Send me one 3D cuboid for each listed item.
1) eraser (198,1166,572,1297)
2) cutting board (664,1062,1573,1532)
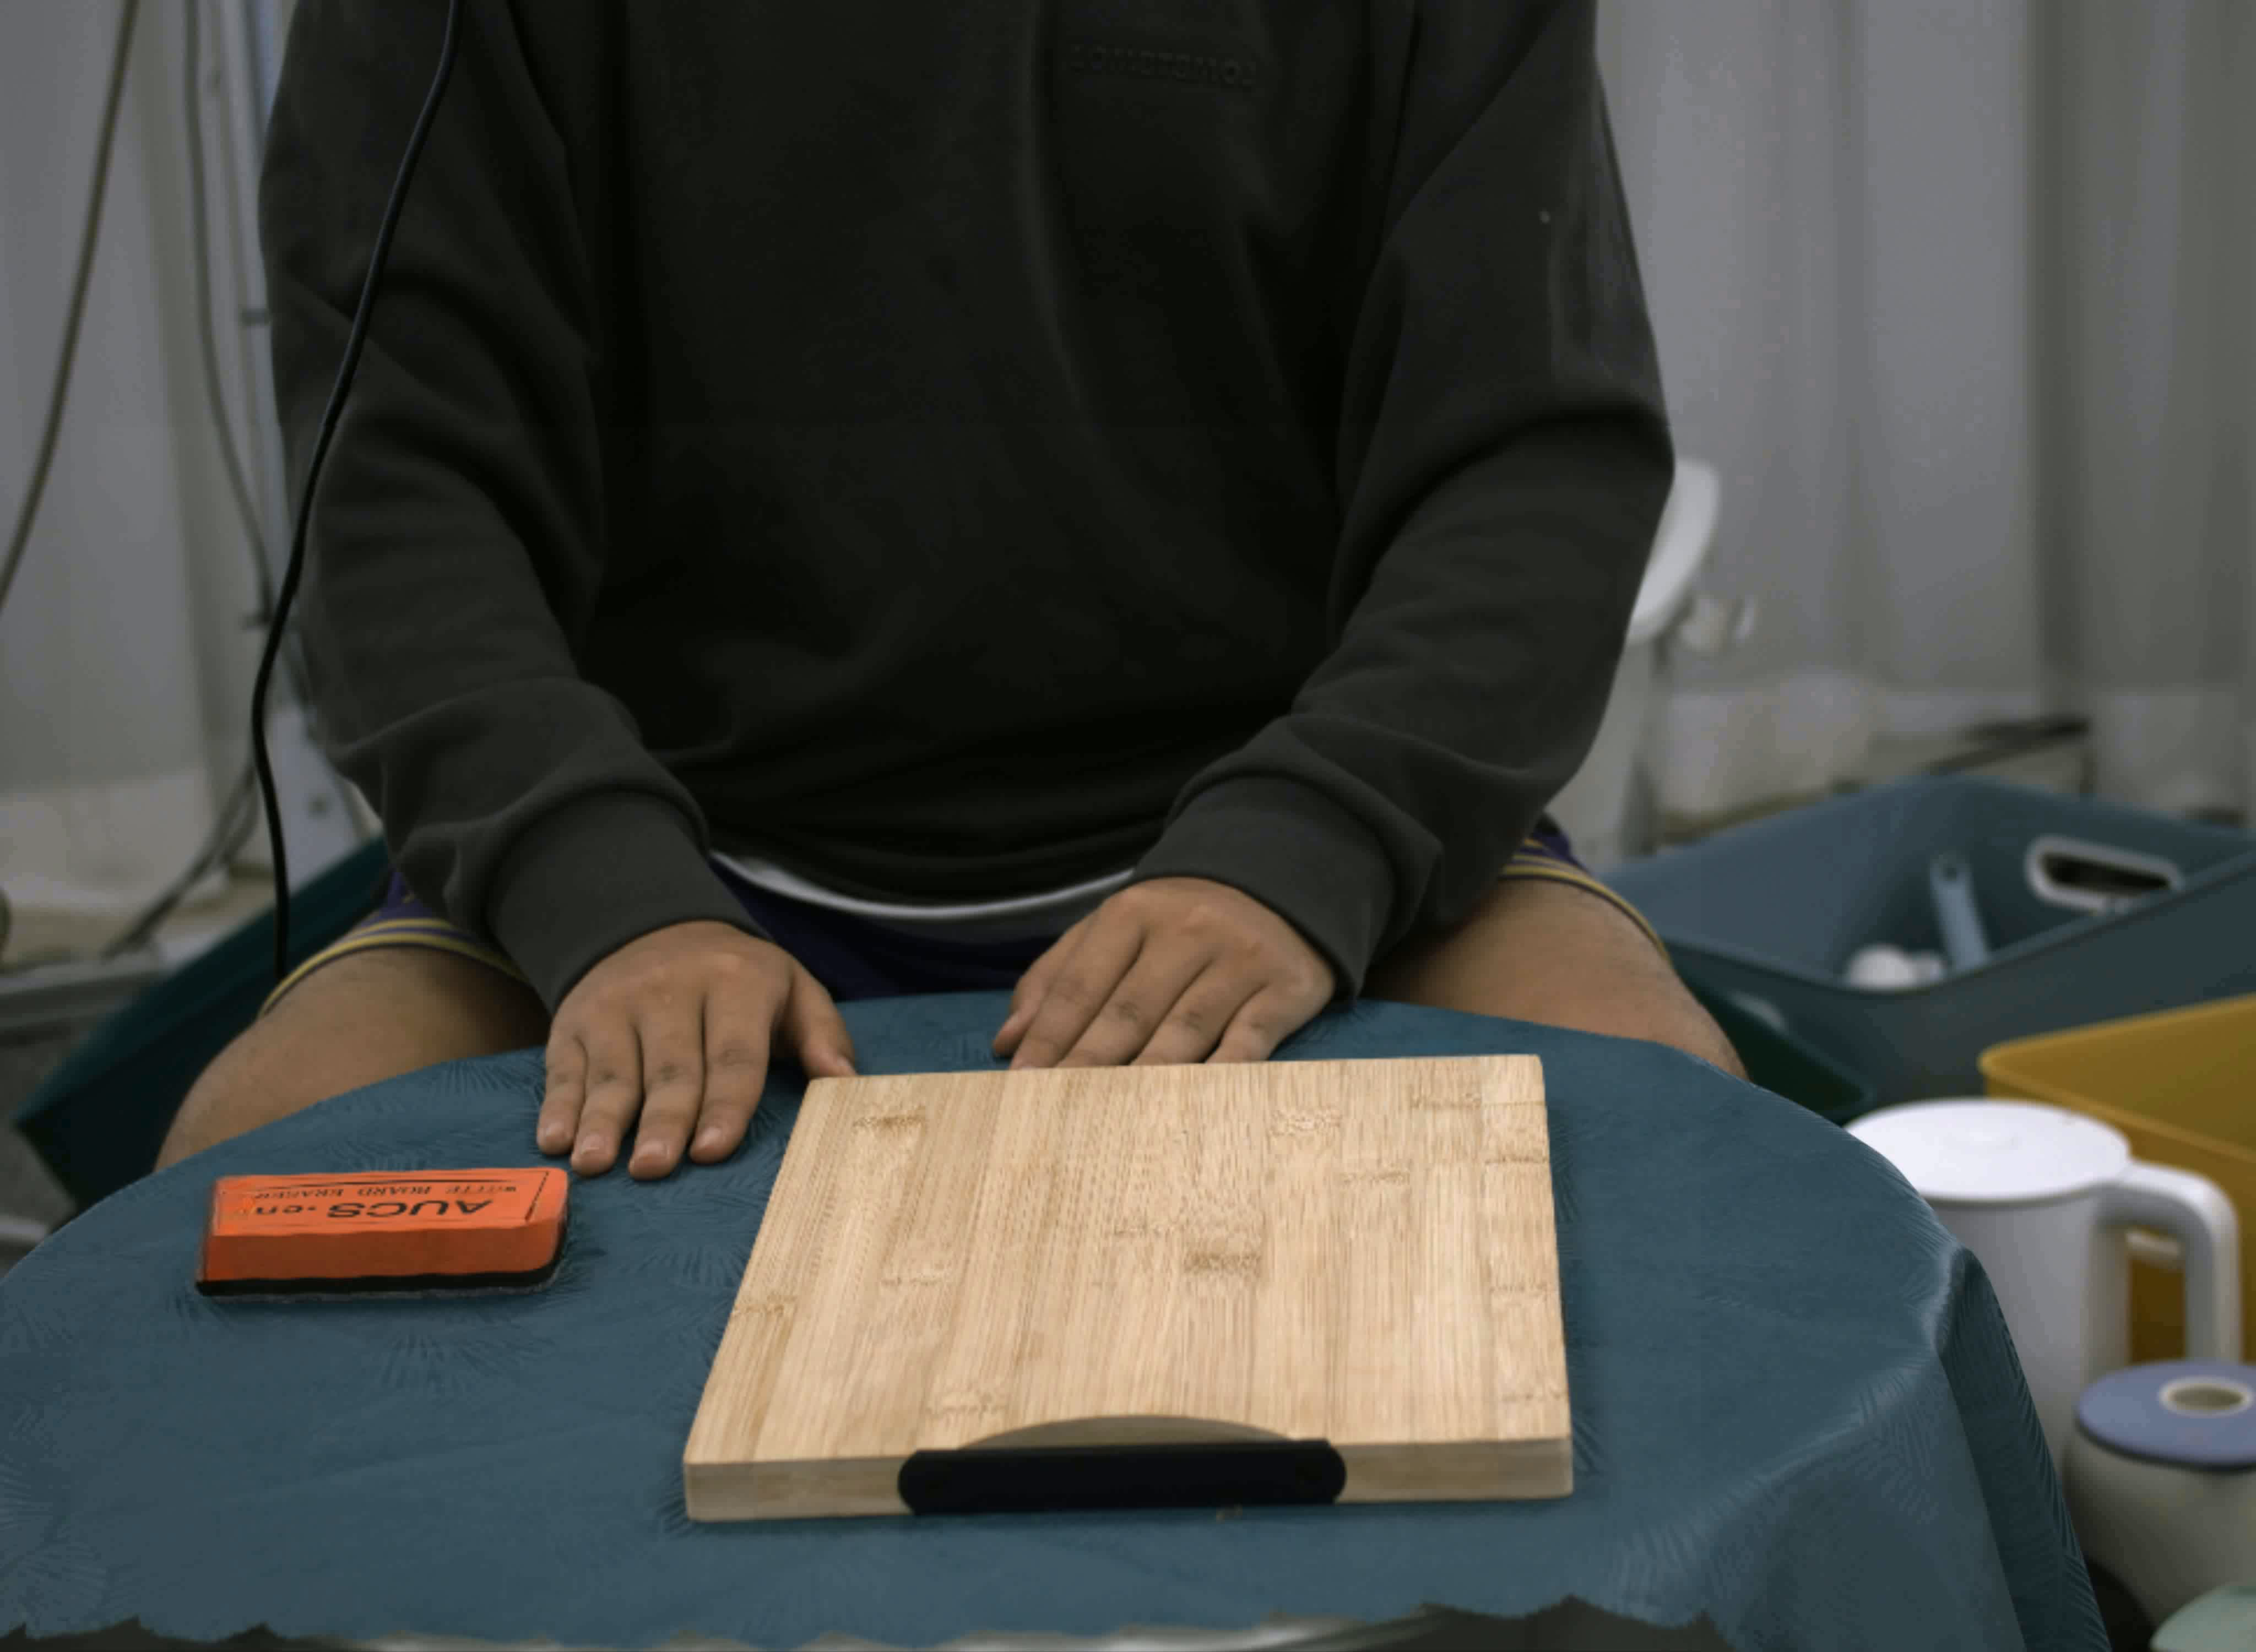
[{"bbox_3d":[-0.227,0.124,1.677,0.108,0.023,0.059,-1,15,5],"label":"eraser"},{"bbox_3d":[0.007,0.133,1.615,0.250,0.023,0.351,-3,15,3],"label":"cutting board"}]
